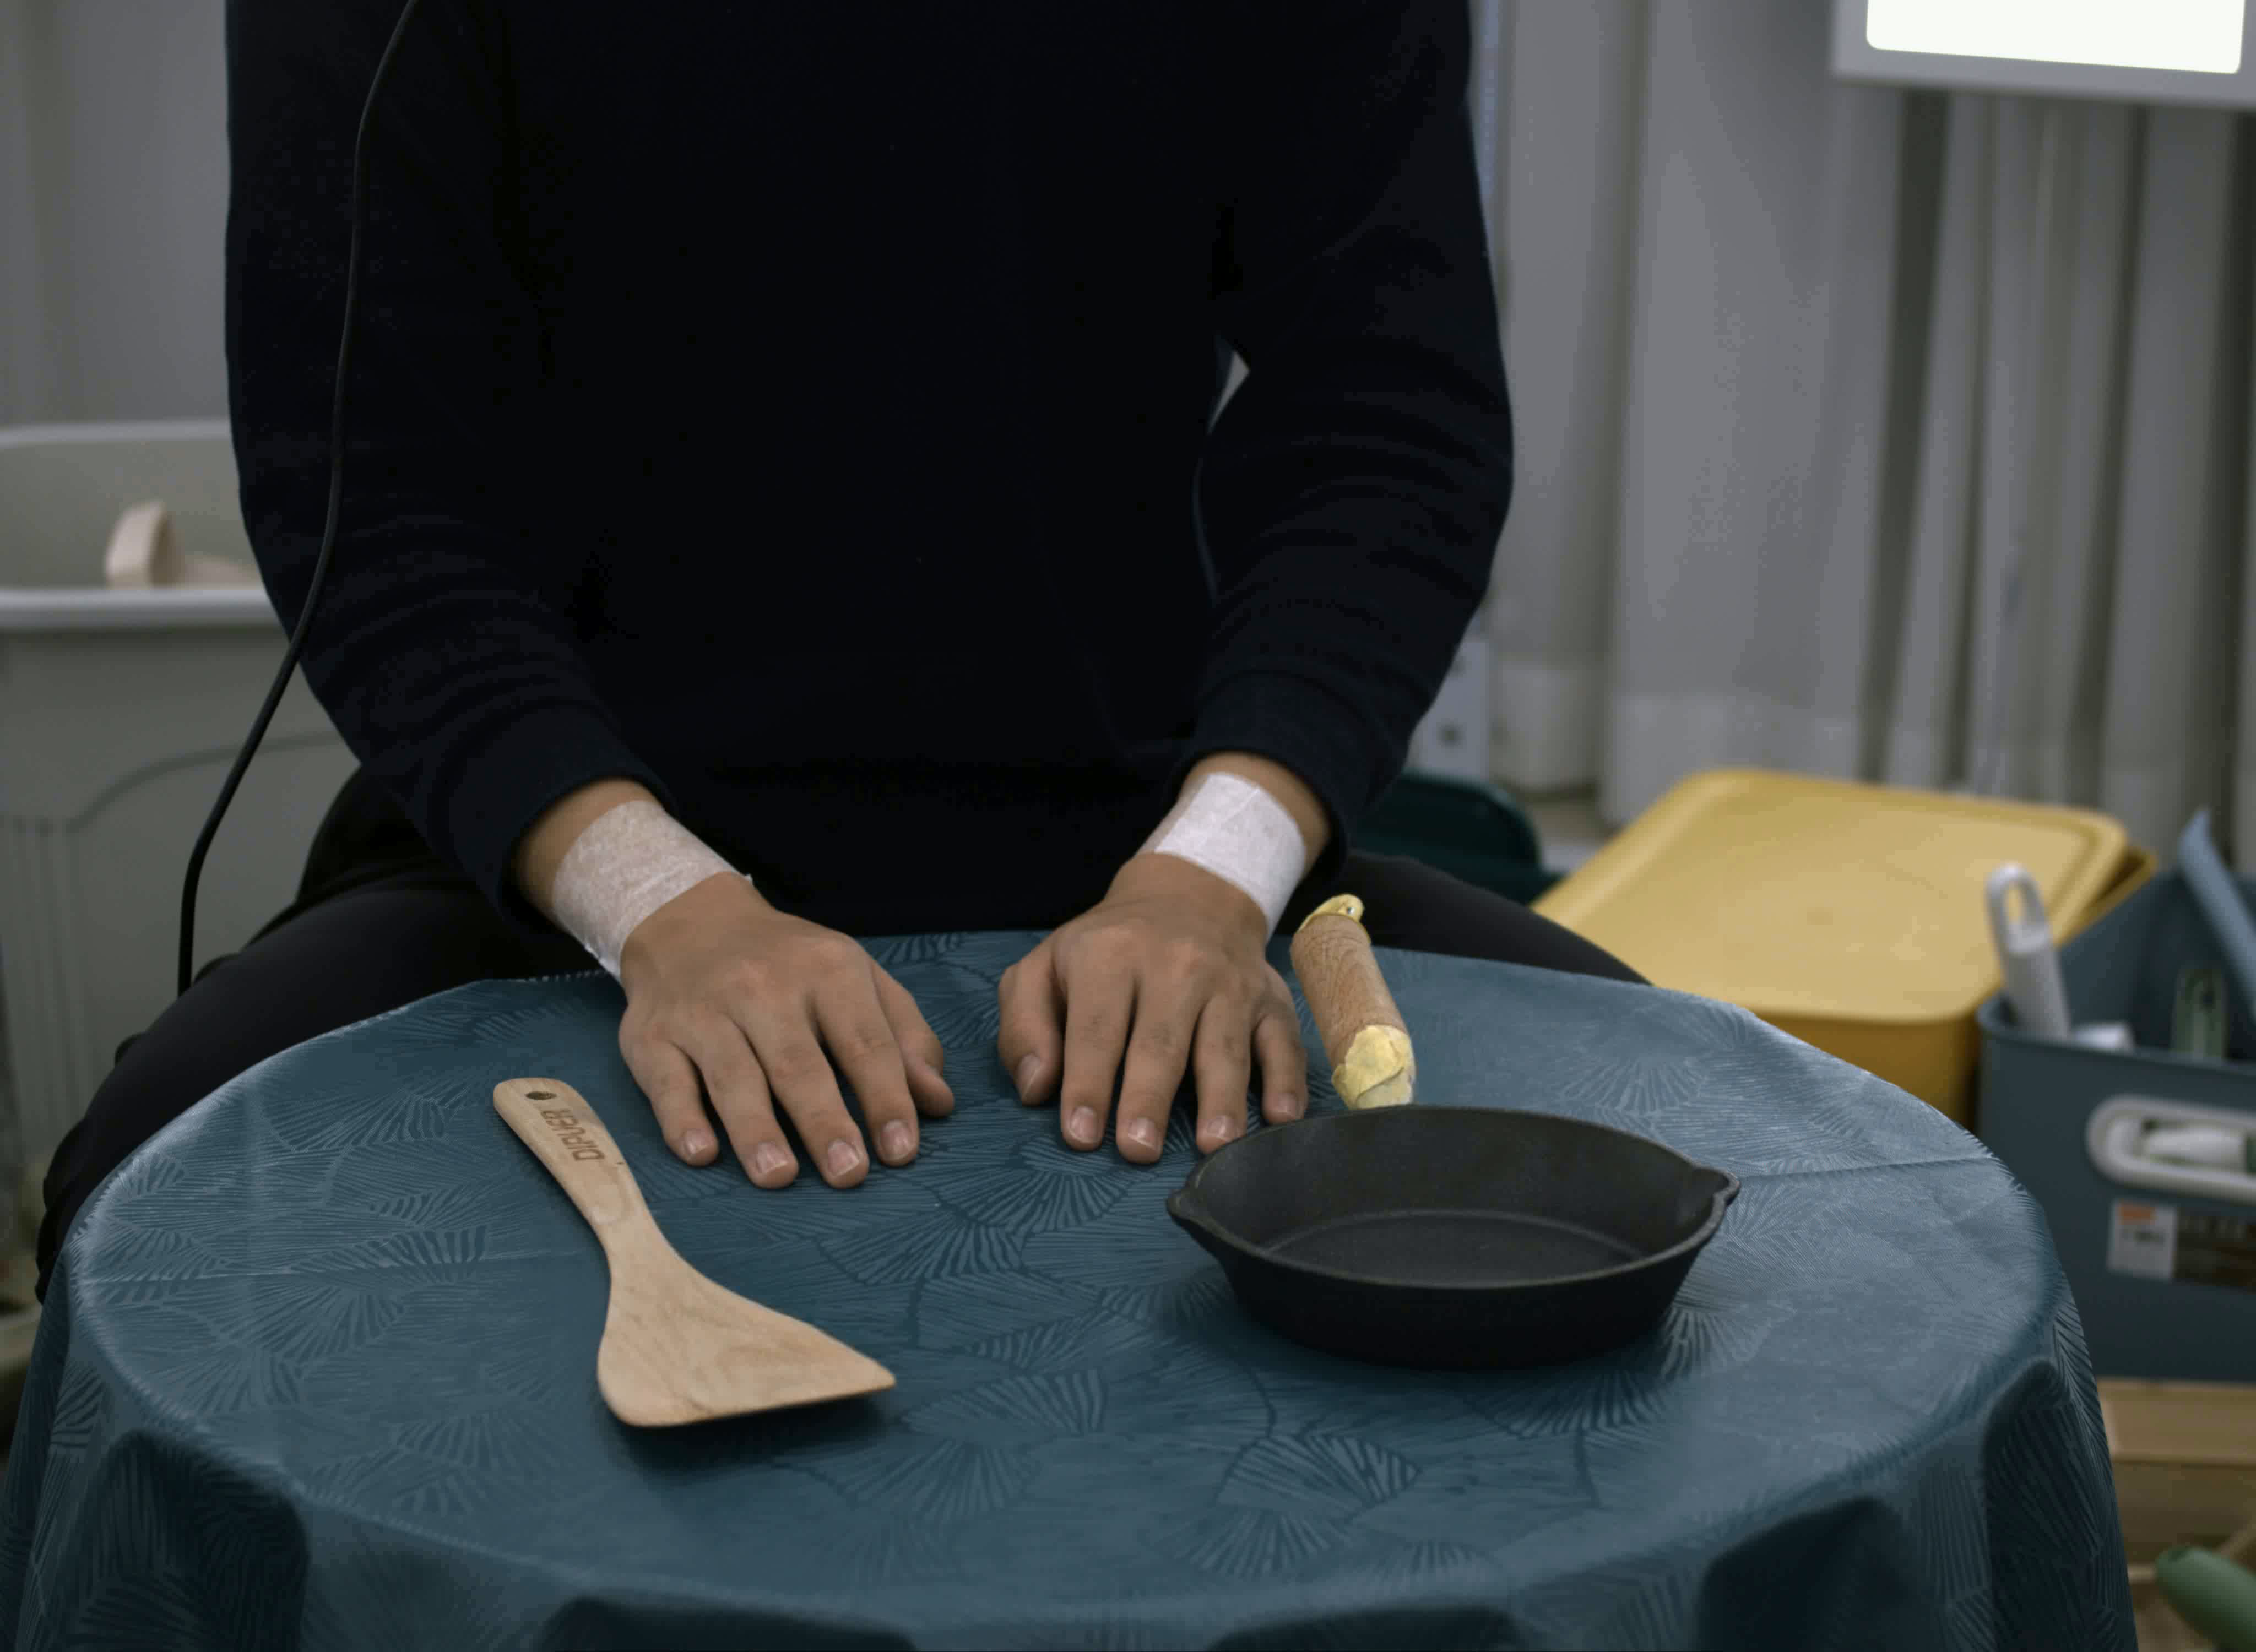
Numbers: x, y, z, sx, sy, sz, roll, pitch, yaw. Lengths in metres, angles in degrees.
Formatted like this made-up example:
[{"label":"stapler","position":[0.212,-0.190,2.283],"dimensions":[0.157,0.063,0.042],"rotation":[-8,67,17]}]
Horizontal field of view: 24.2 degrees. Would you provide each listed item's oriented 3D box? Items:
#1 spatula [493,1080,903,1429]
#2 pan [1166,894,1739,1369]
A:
[{"label":"spatula","position":[-0.143,0.122,1.554],"dimensions":[0.080,0.016,0.324],"rotation":[-4,16,-18]},{"label":"pan","position":[0.086,0.090,1.611],"dimensions":[0.169,0.050,0.321],"rotation":[-1,17,-6]}]
